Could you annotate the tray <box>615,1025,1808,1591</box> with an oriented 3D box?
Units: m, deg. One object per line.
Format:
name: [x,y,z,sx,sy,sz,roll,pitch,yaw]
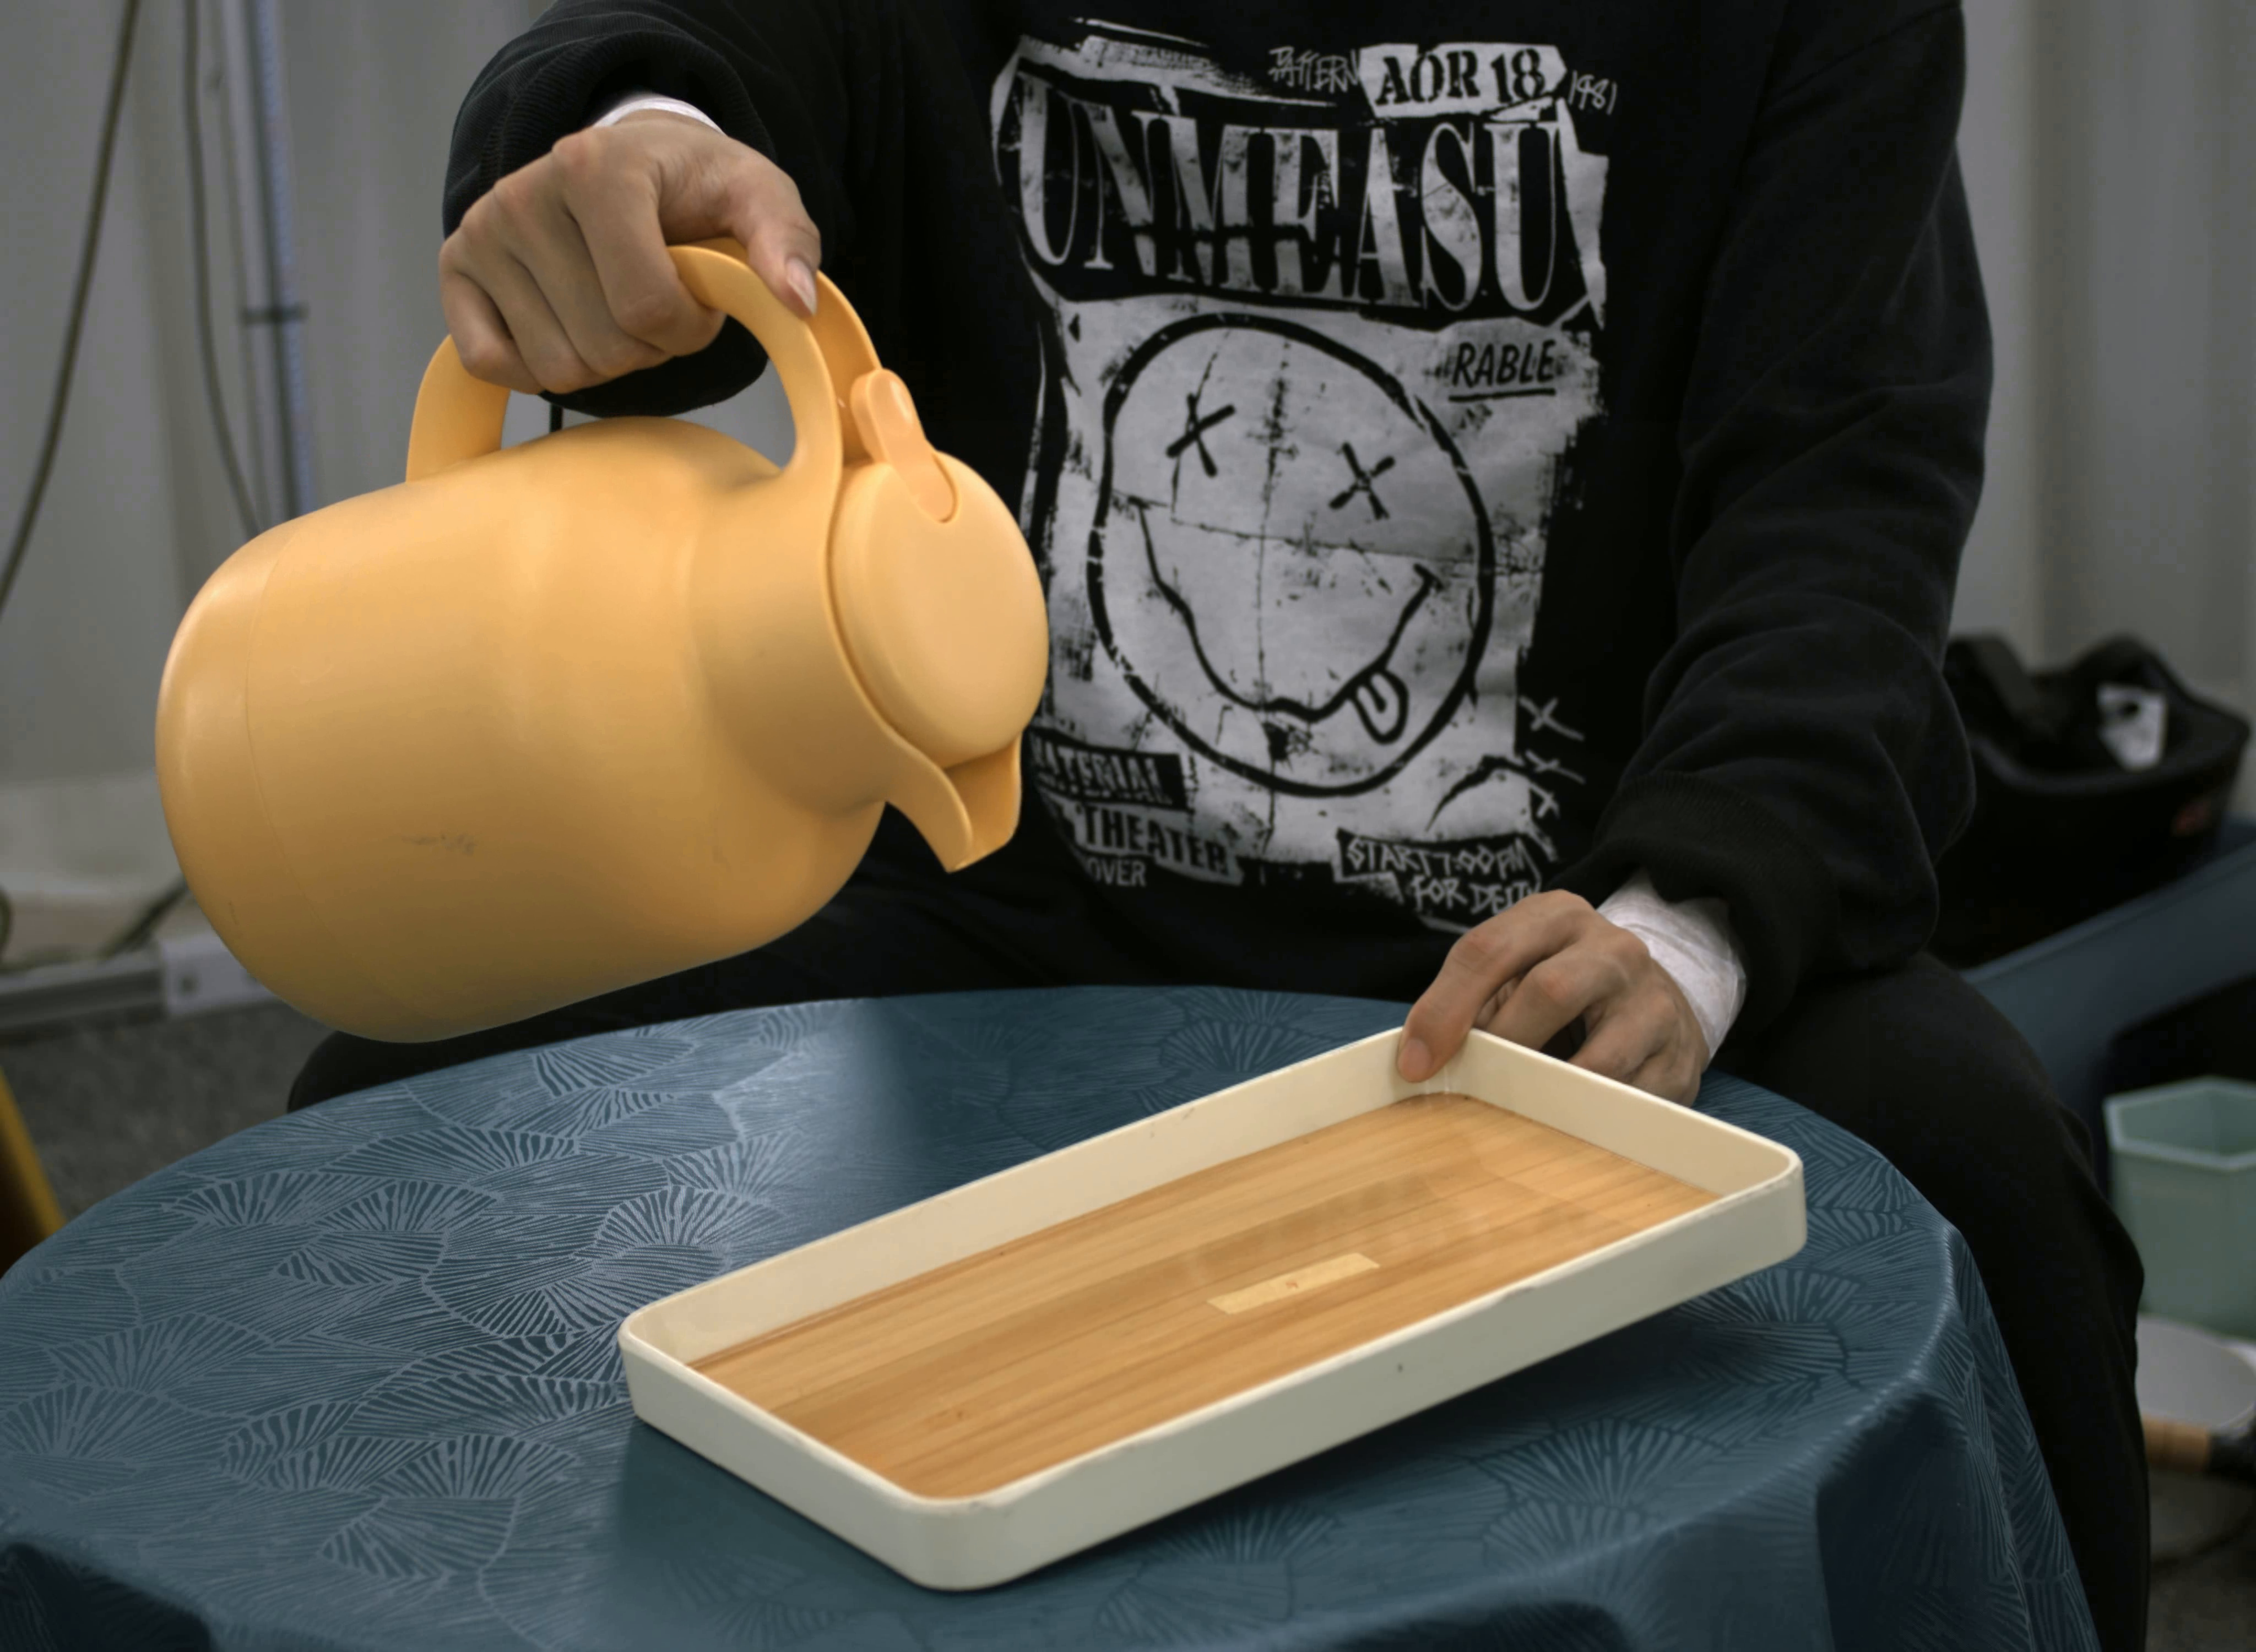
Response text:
tray: [0.025,0.130,1.545,0.299,0.027,0.193,-18,21,-29]

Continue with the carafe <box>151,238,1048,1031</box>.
carafe: [-0.152,-0.057,1.590,0.260,0.203,0.163,-14,1,32]
